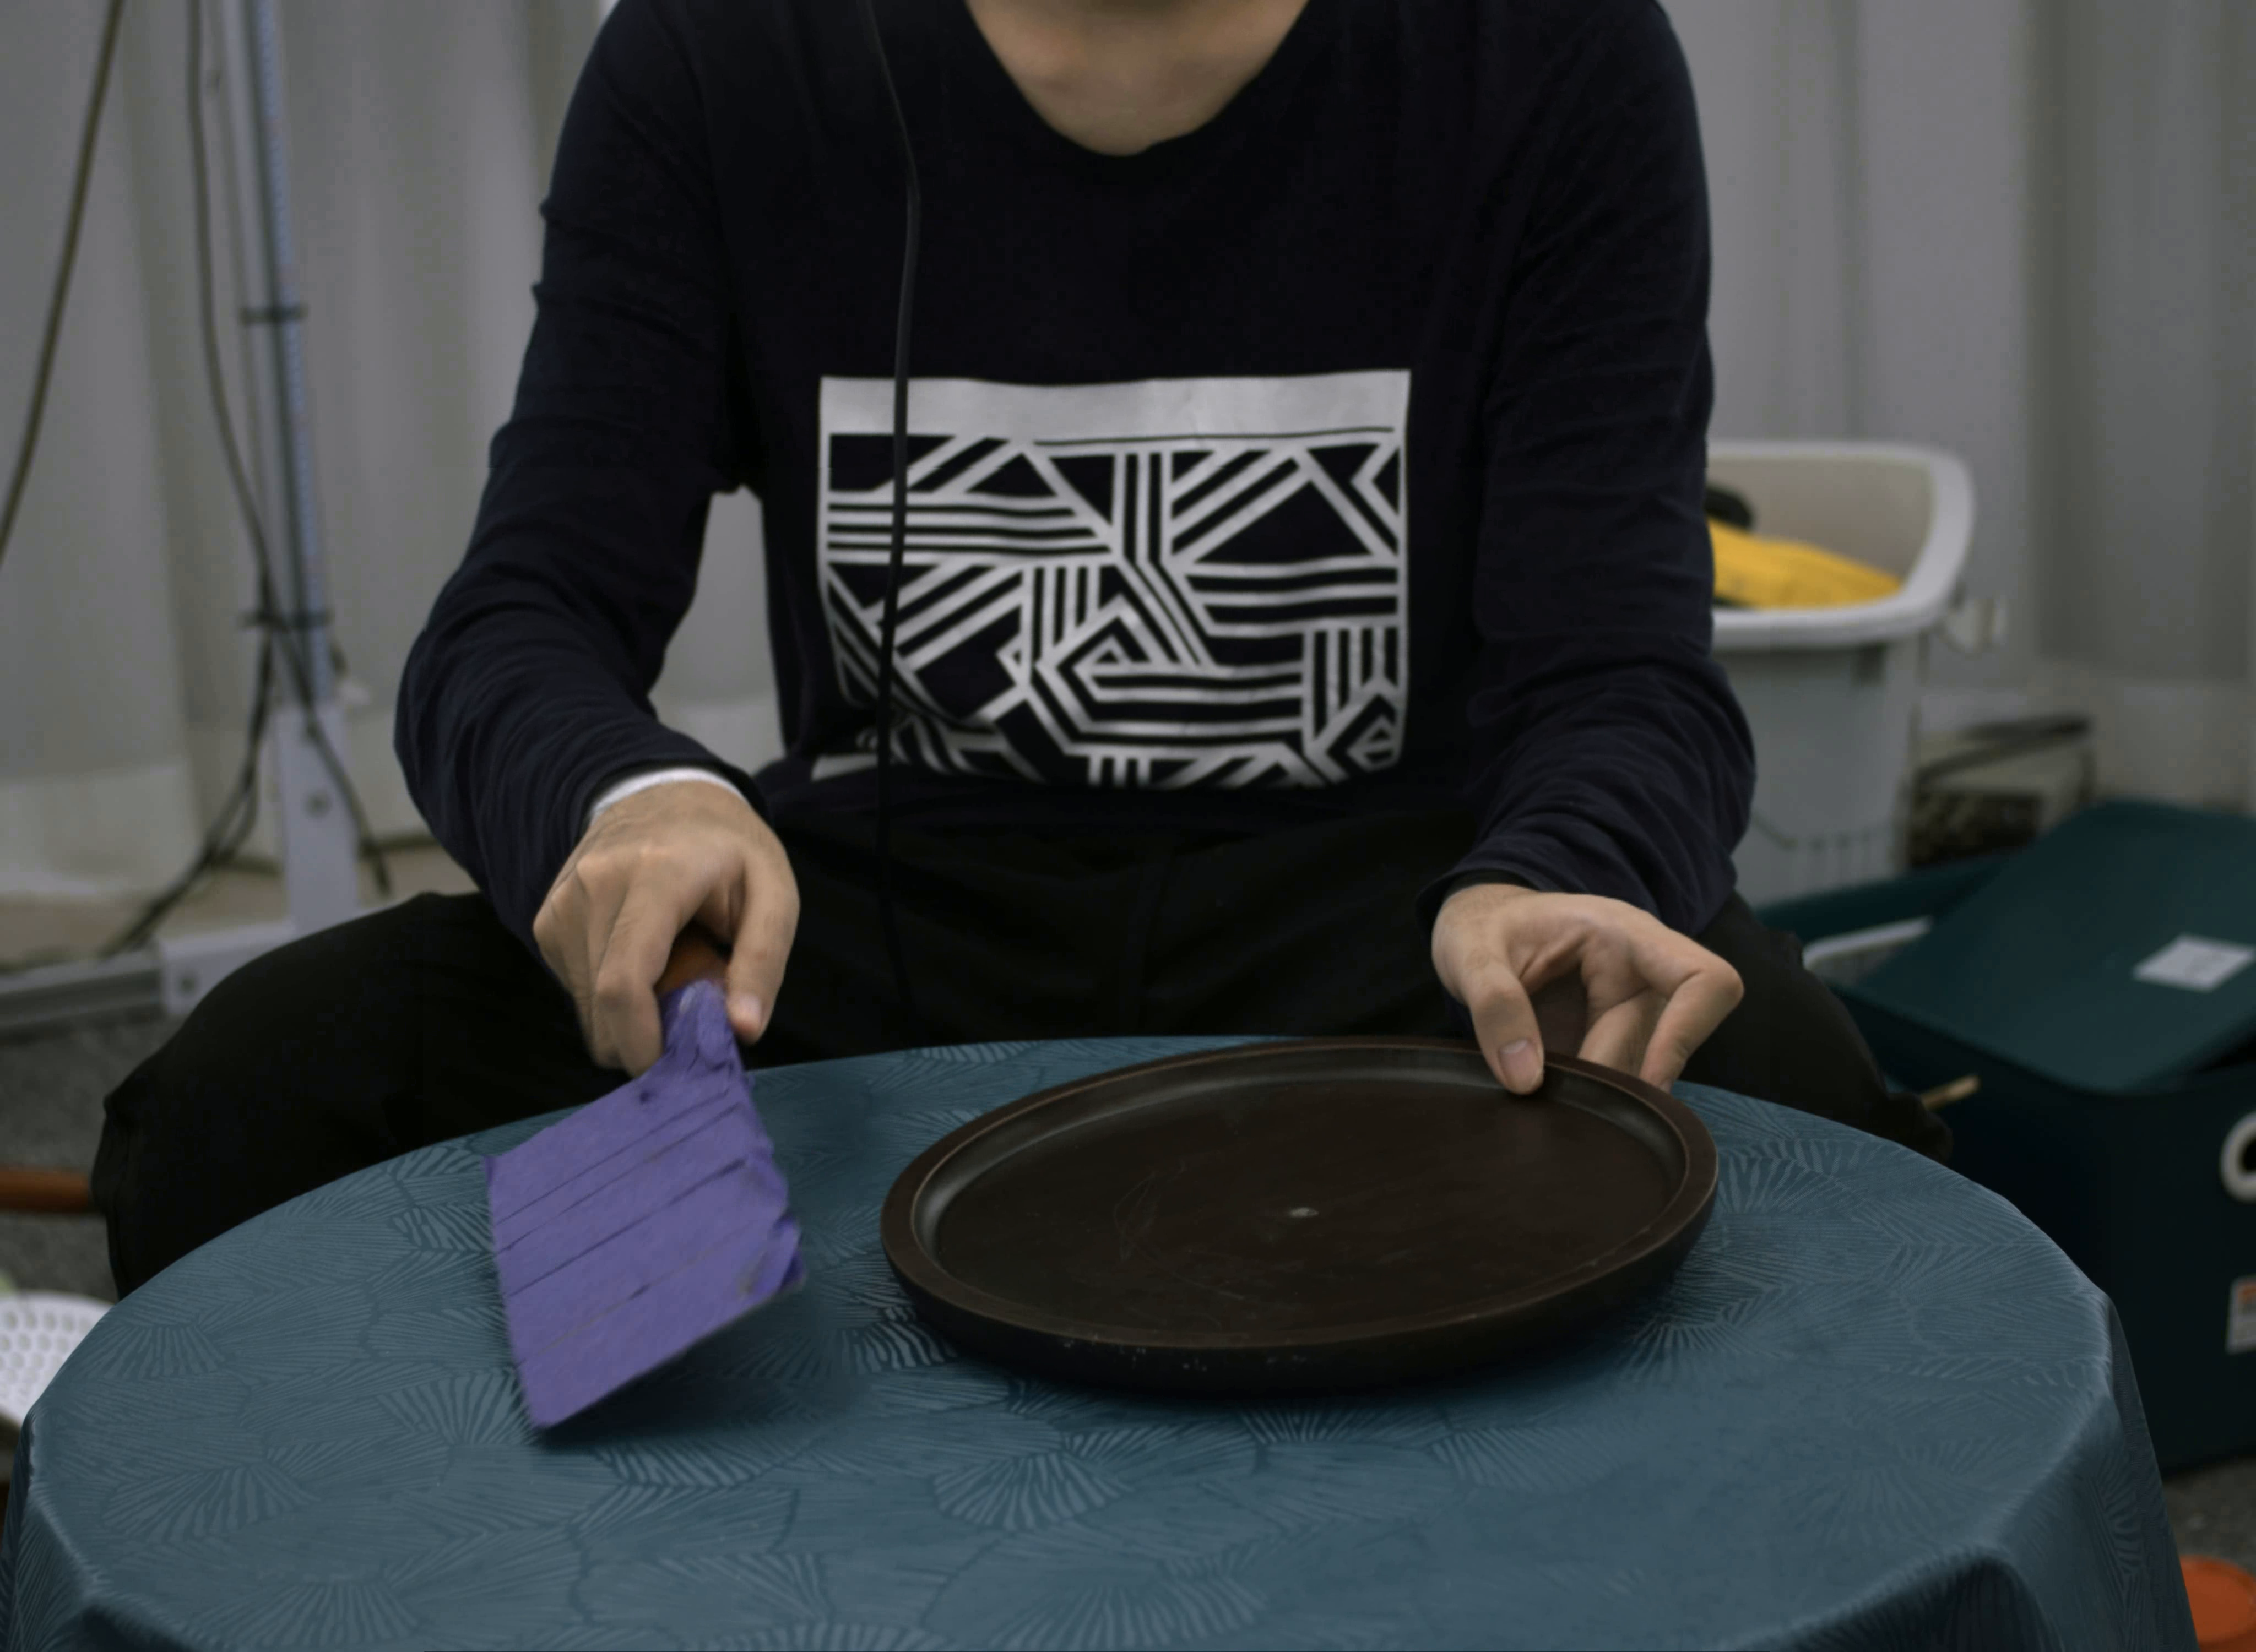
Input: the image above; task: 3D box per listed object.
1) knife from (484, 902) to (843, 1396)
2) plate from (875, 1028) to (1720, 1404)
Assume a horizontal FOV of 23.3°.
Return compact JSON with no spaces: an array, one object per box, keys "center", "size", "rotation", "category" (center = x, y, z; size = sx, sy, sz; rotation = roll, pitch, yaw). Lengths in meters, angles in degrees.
[{"center":[-0.152,0.094,1.666],"size":[0.104,0.032,0.318],"rotation":[-31,18,-1],"category":"knife"},{"center":[0.051,0.115,1.635],"size":[0.254,0.029,0.257],"rotation":[-5,19,1],"category":"plate"}]
